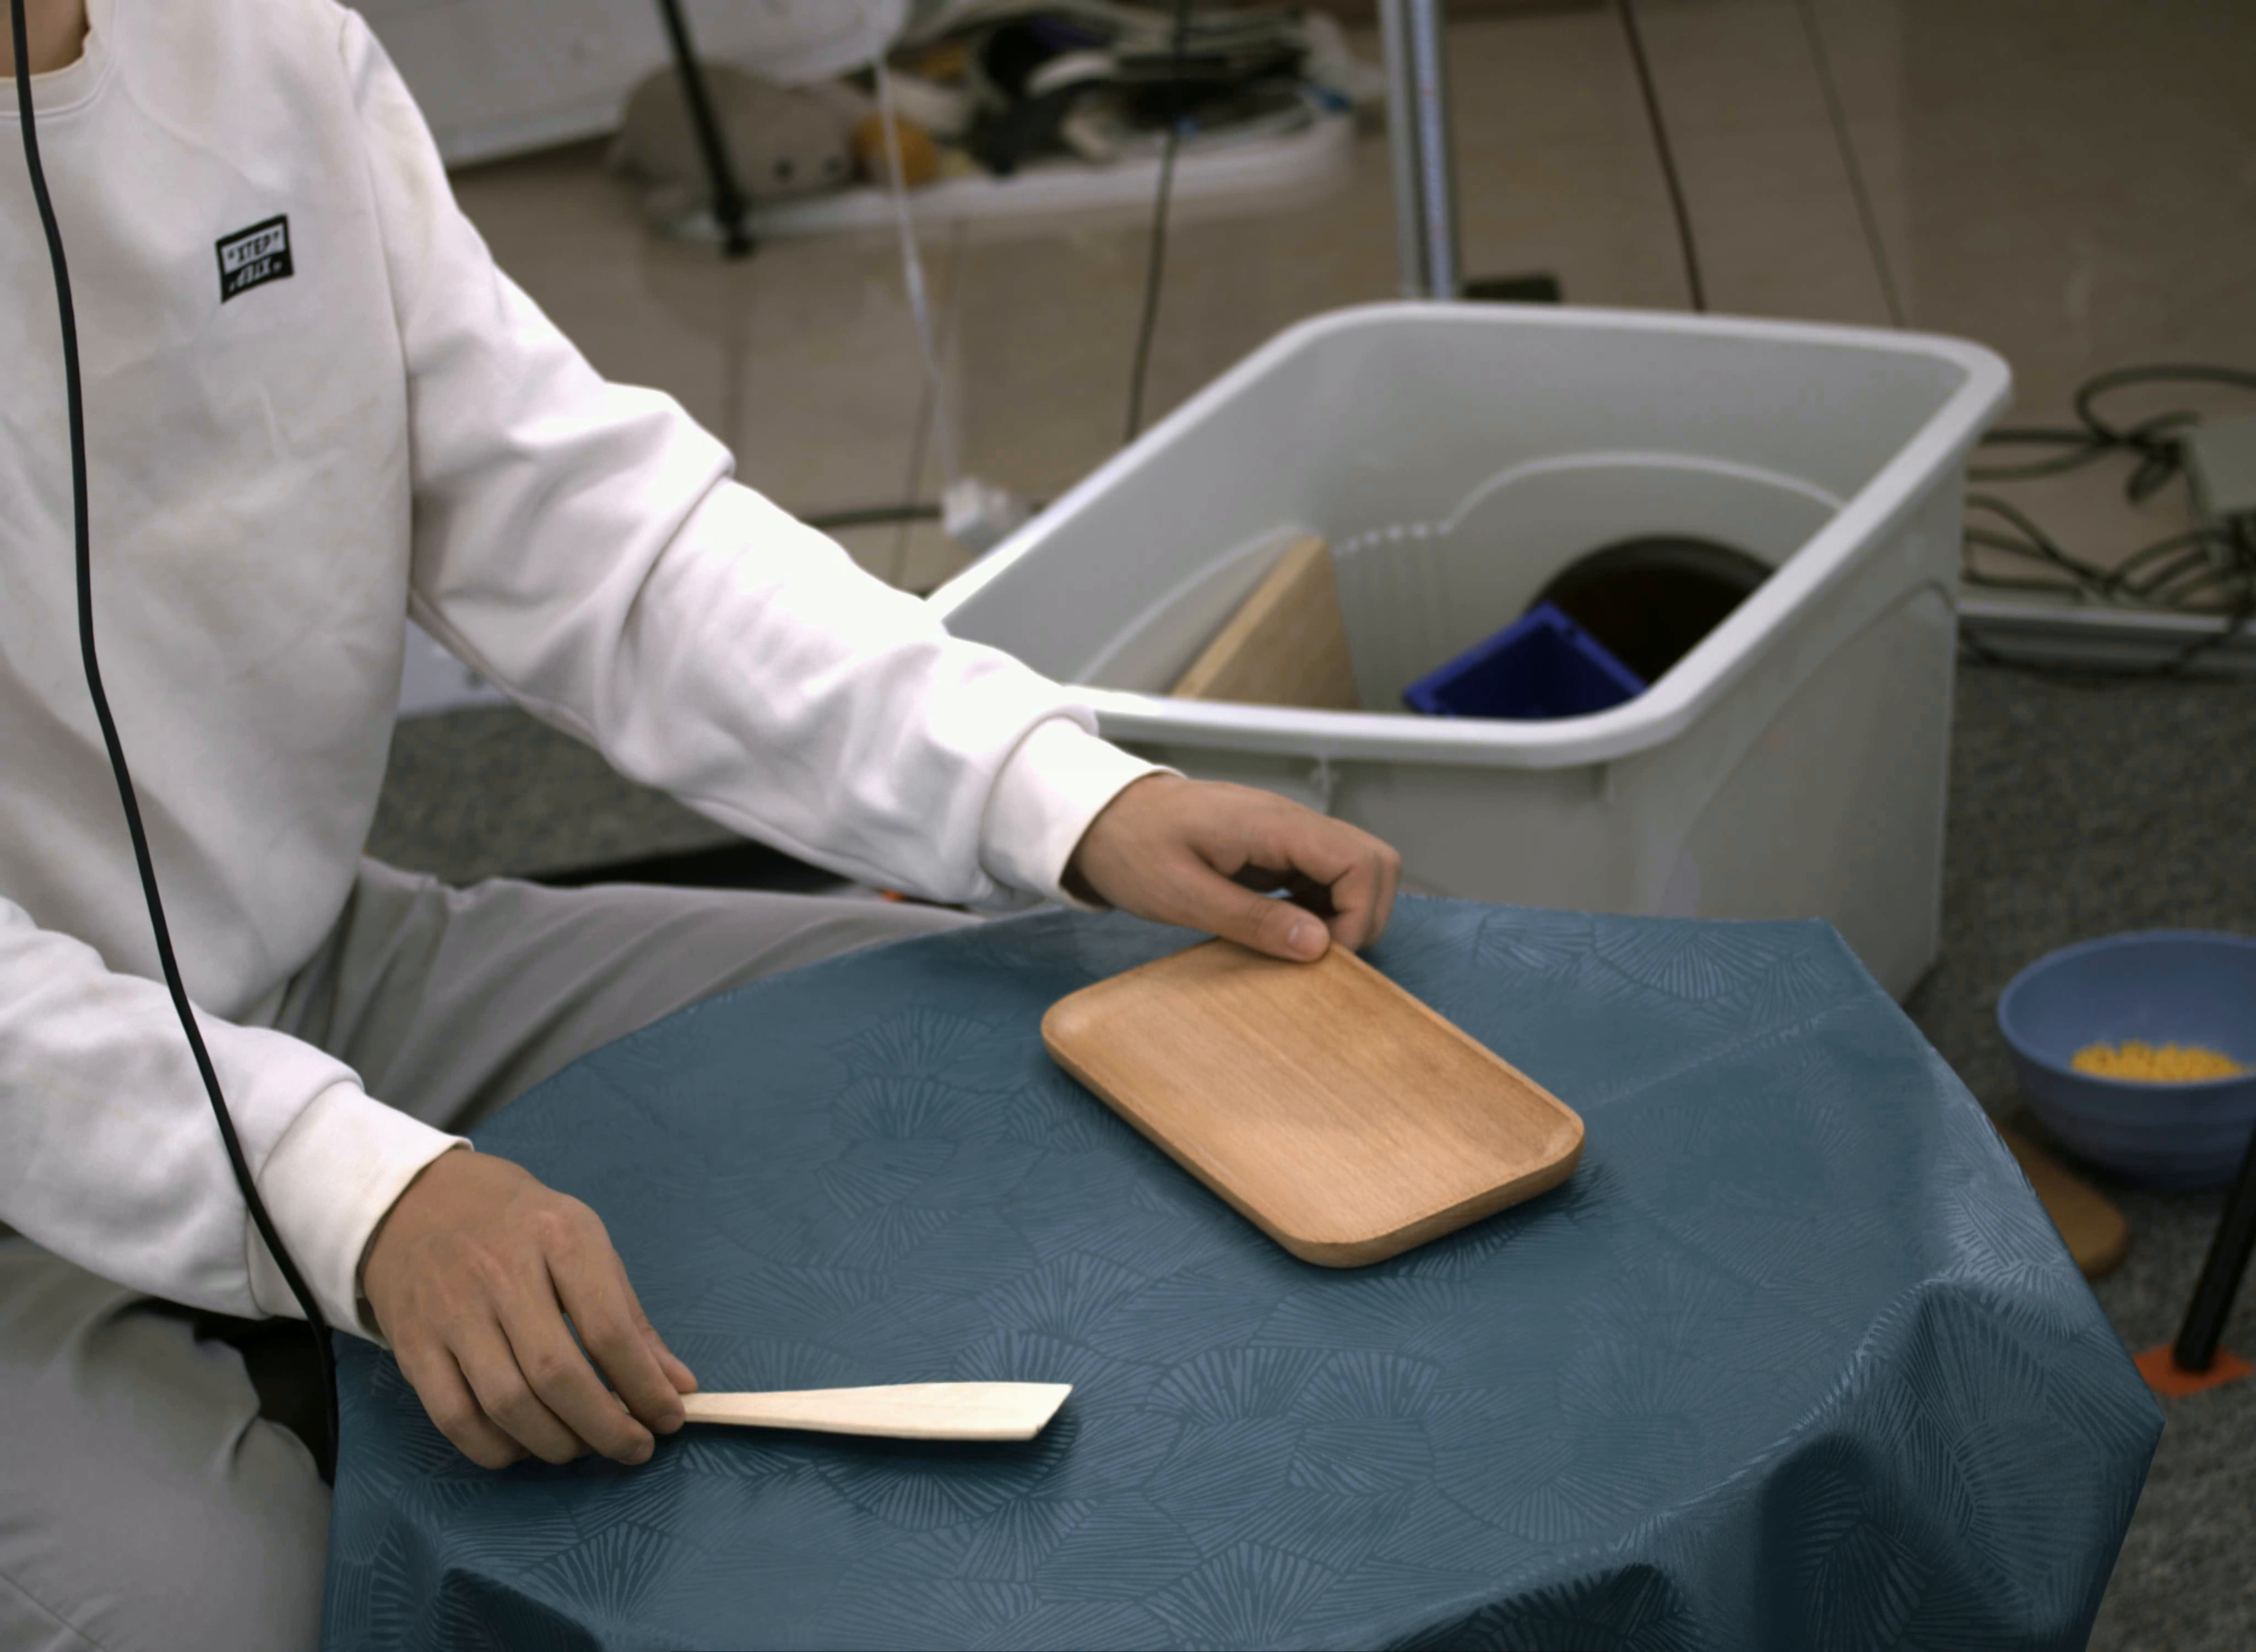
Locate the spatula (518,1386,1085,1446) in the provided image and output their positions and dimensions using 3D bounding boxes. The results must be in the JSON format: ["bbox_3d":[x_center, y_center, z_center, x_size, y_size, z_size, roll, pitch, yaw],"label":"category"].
[{"bbox_3d":[-0.119,0.206,2.013,0.207,0.005,0.050,0,15,17],"label":"spatula"}]

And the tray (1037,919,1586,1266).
[{"bbox_3d":[0.068,0.100,2.183,0.130,0.023,0.248,-18,27,-22],"label":"tray"}]
